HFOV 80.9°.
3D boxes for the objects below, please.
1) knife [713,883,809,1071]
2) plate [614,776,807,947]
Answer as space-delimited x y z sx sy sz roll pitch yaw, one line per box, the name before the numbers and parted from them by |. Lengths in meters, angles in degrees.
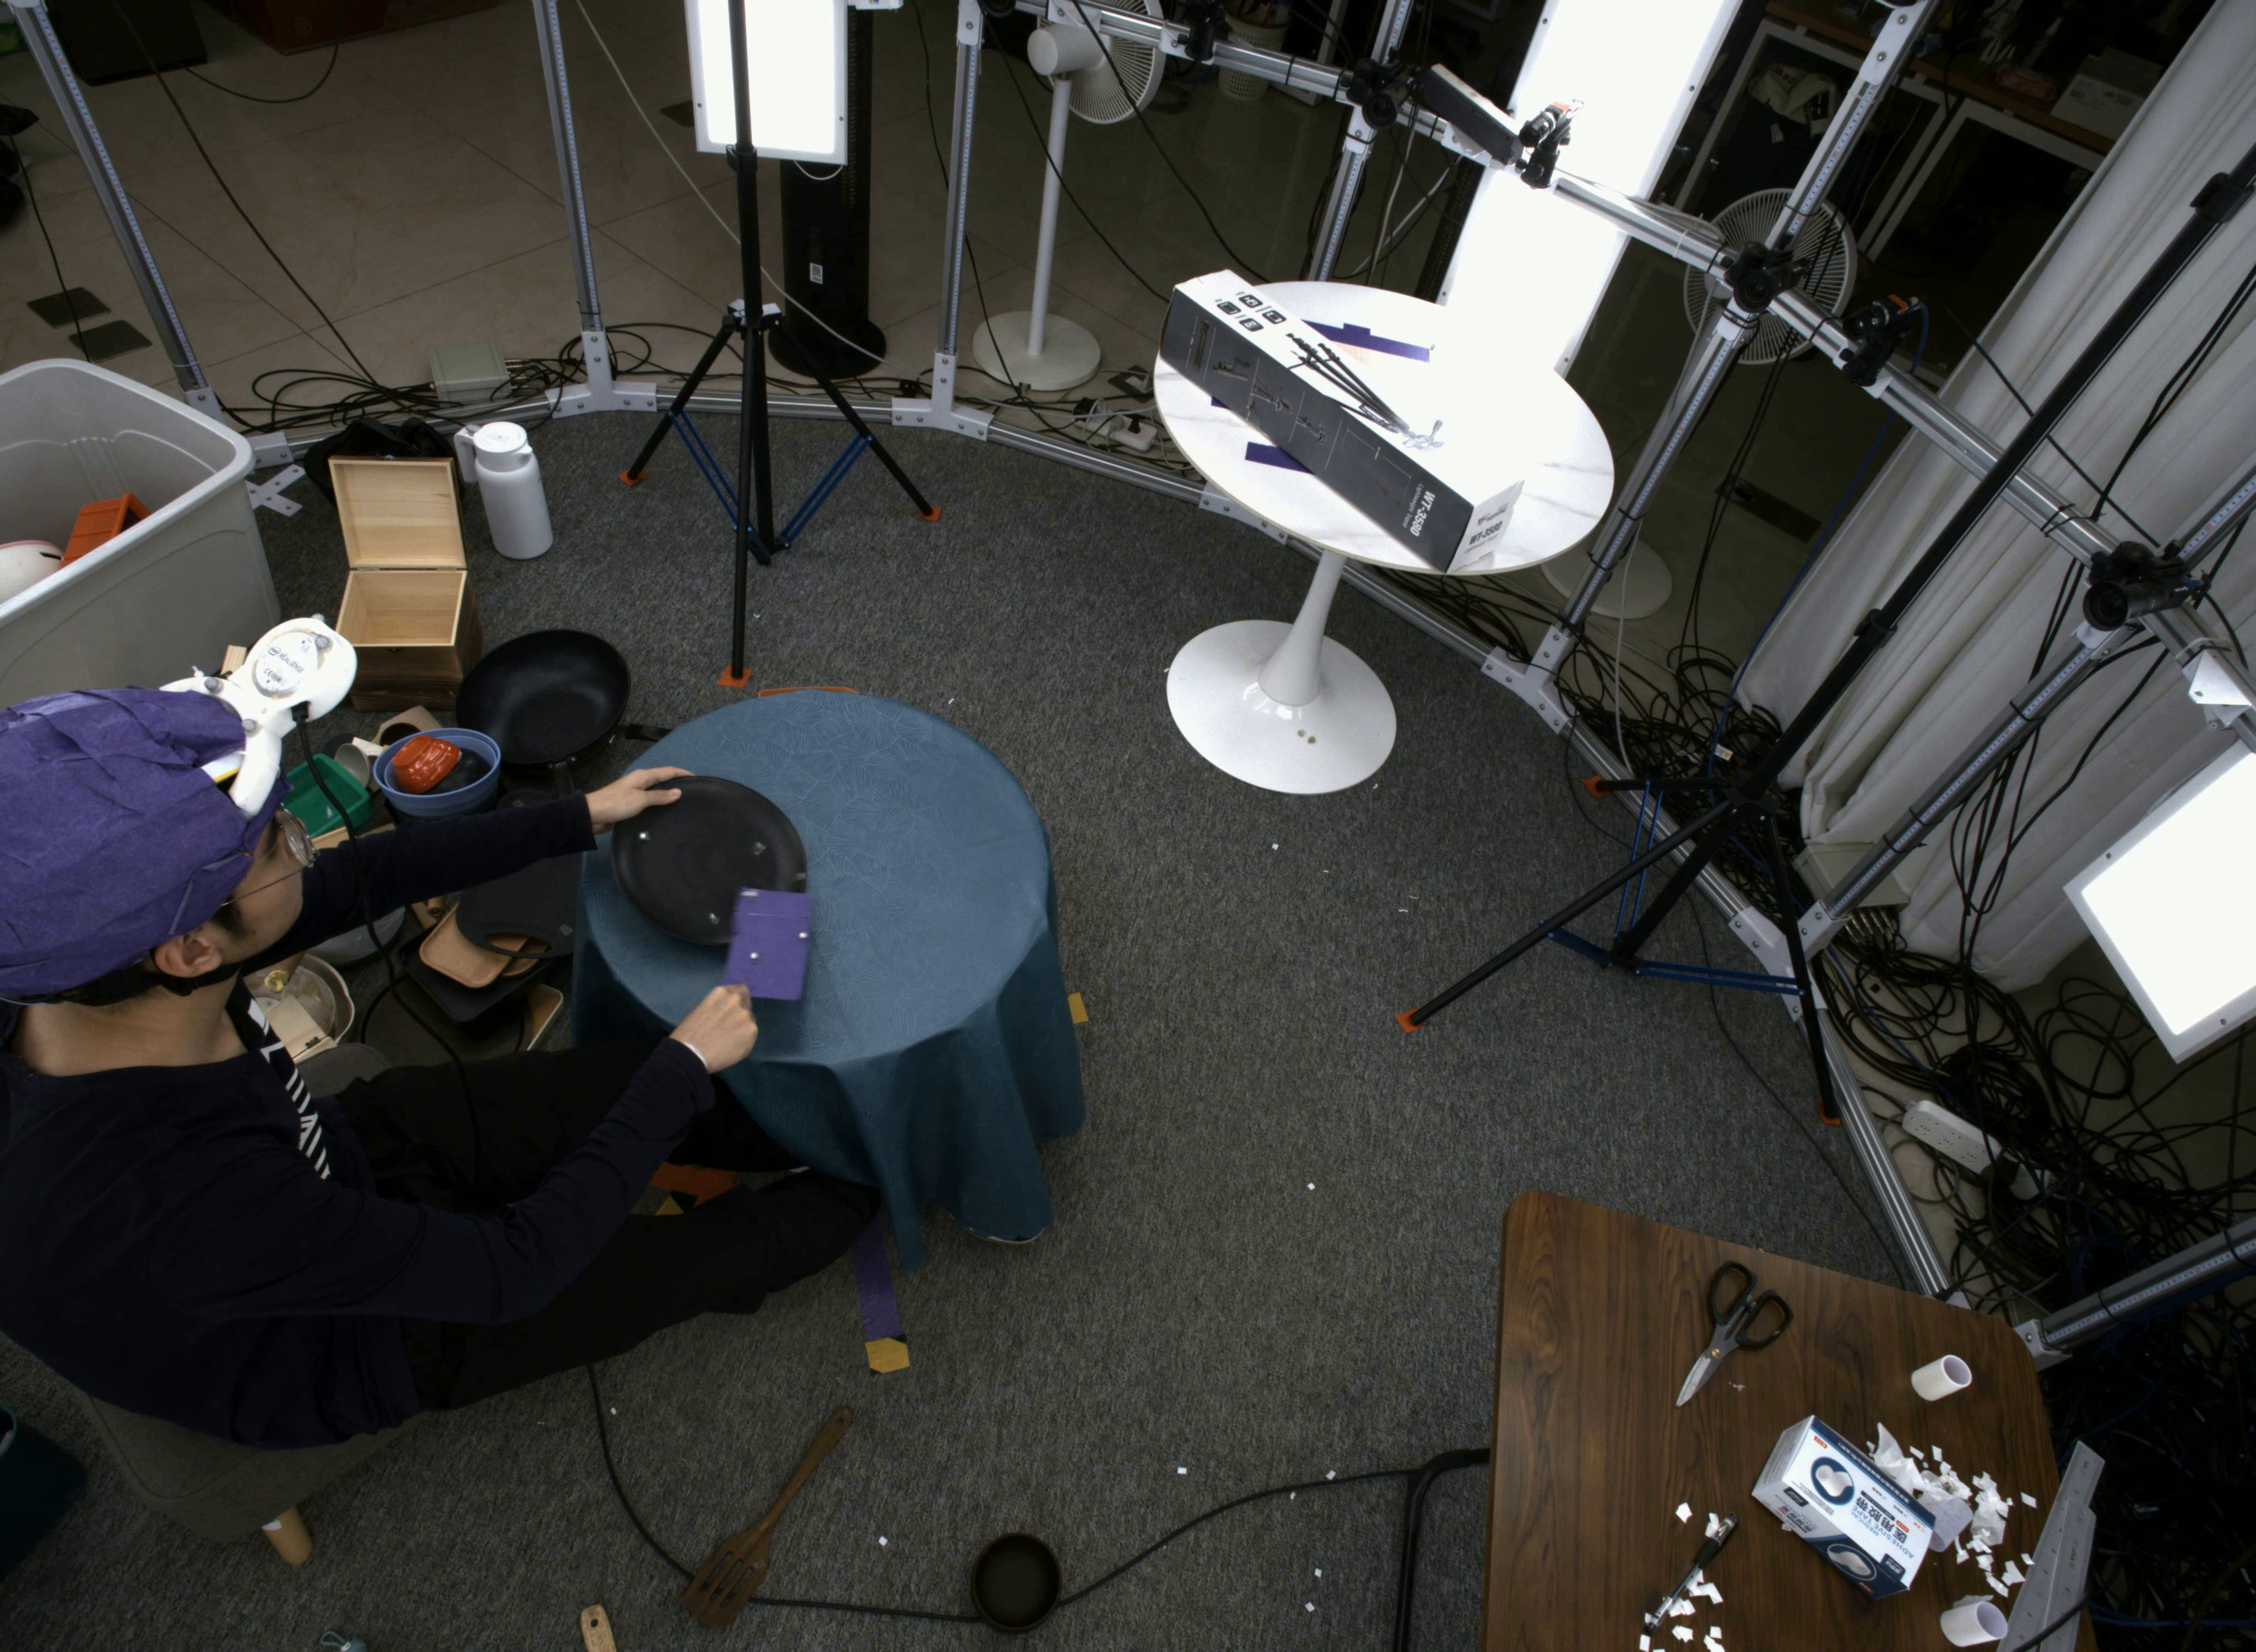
knife | -0.430 0.163 1.520 0.104 0.033 0.306 6 36 -16
plate | -0.528 0.044 1.628 0.248 0.023 0.240 18 53 -23
